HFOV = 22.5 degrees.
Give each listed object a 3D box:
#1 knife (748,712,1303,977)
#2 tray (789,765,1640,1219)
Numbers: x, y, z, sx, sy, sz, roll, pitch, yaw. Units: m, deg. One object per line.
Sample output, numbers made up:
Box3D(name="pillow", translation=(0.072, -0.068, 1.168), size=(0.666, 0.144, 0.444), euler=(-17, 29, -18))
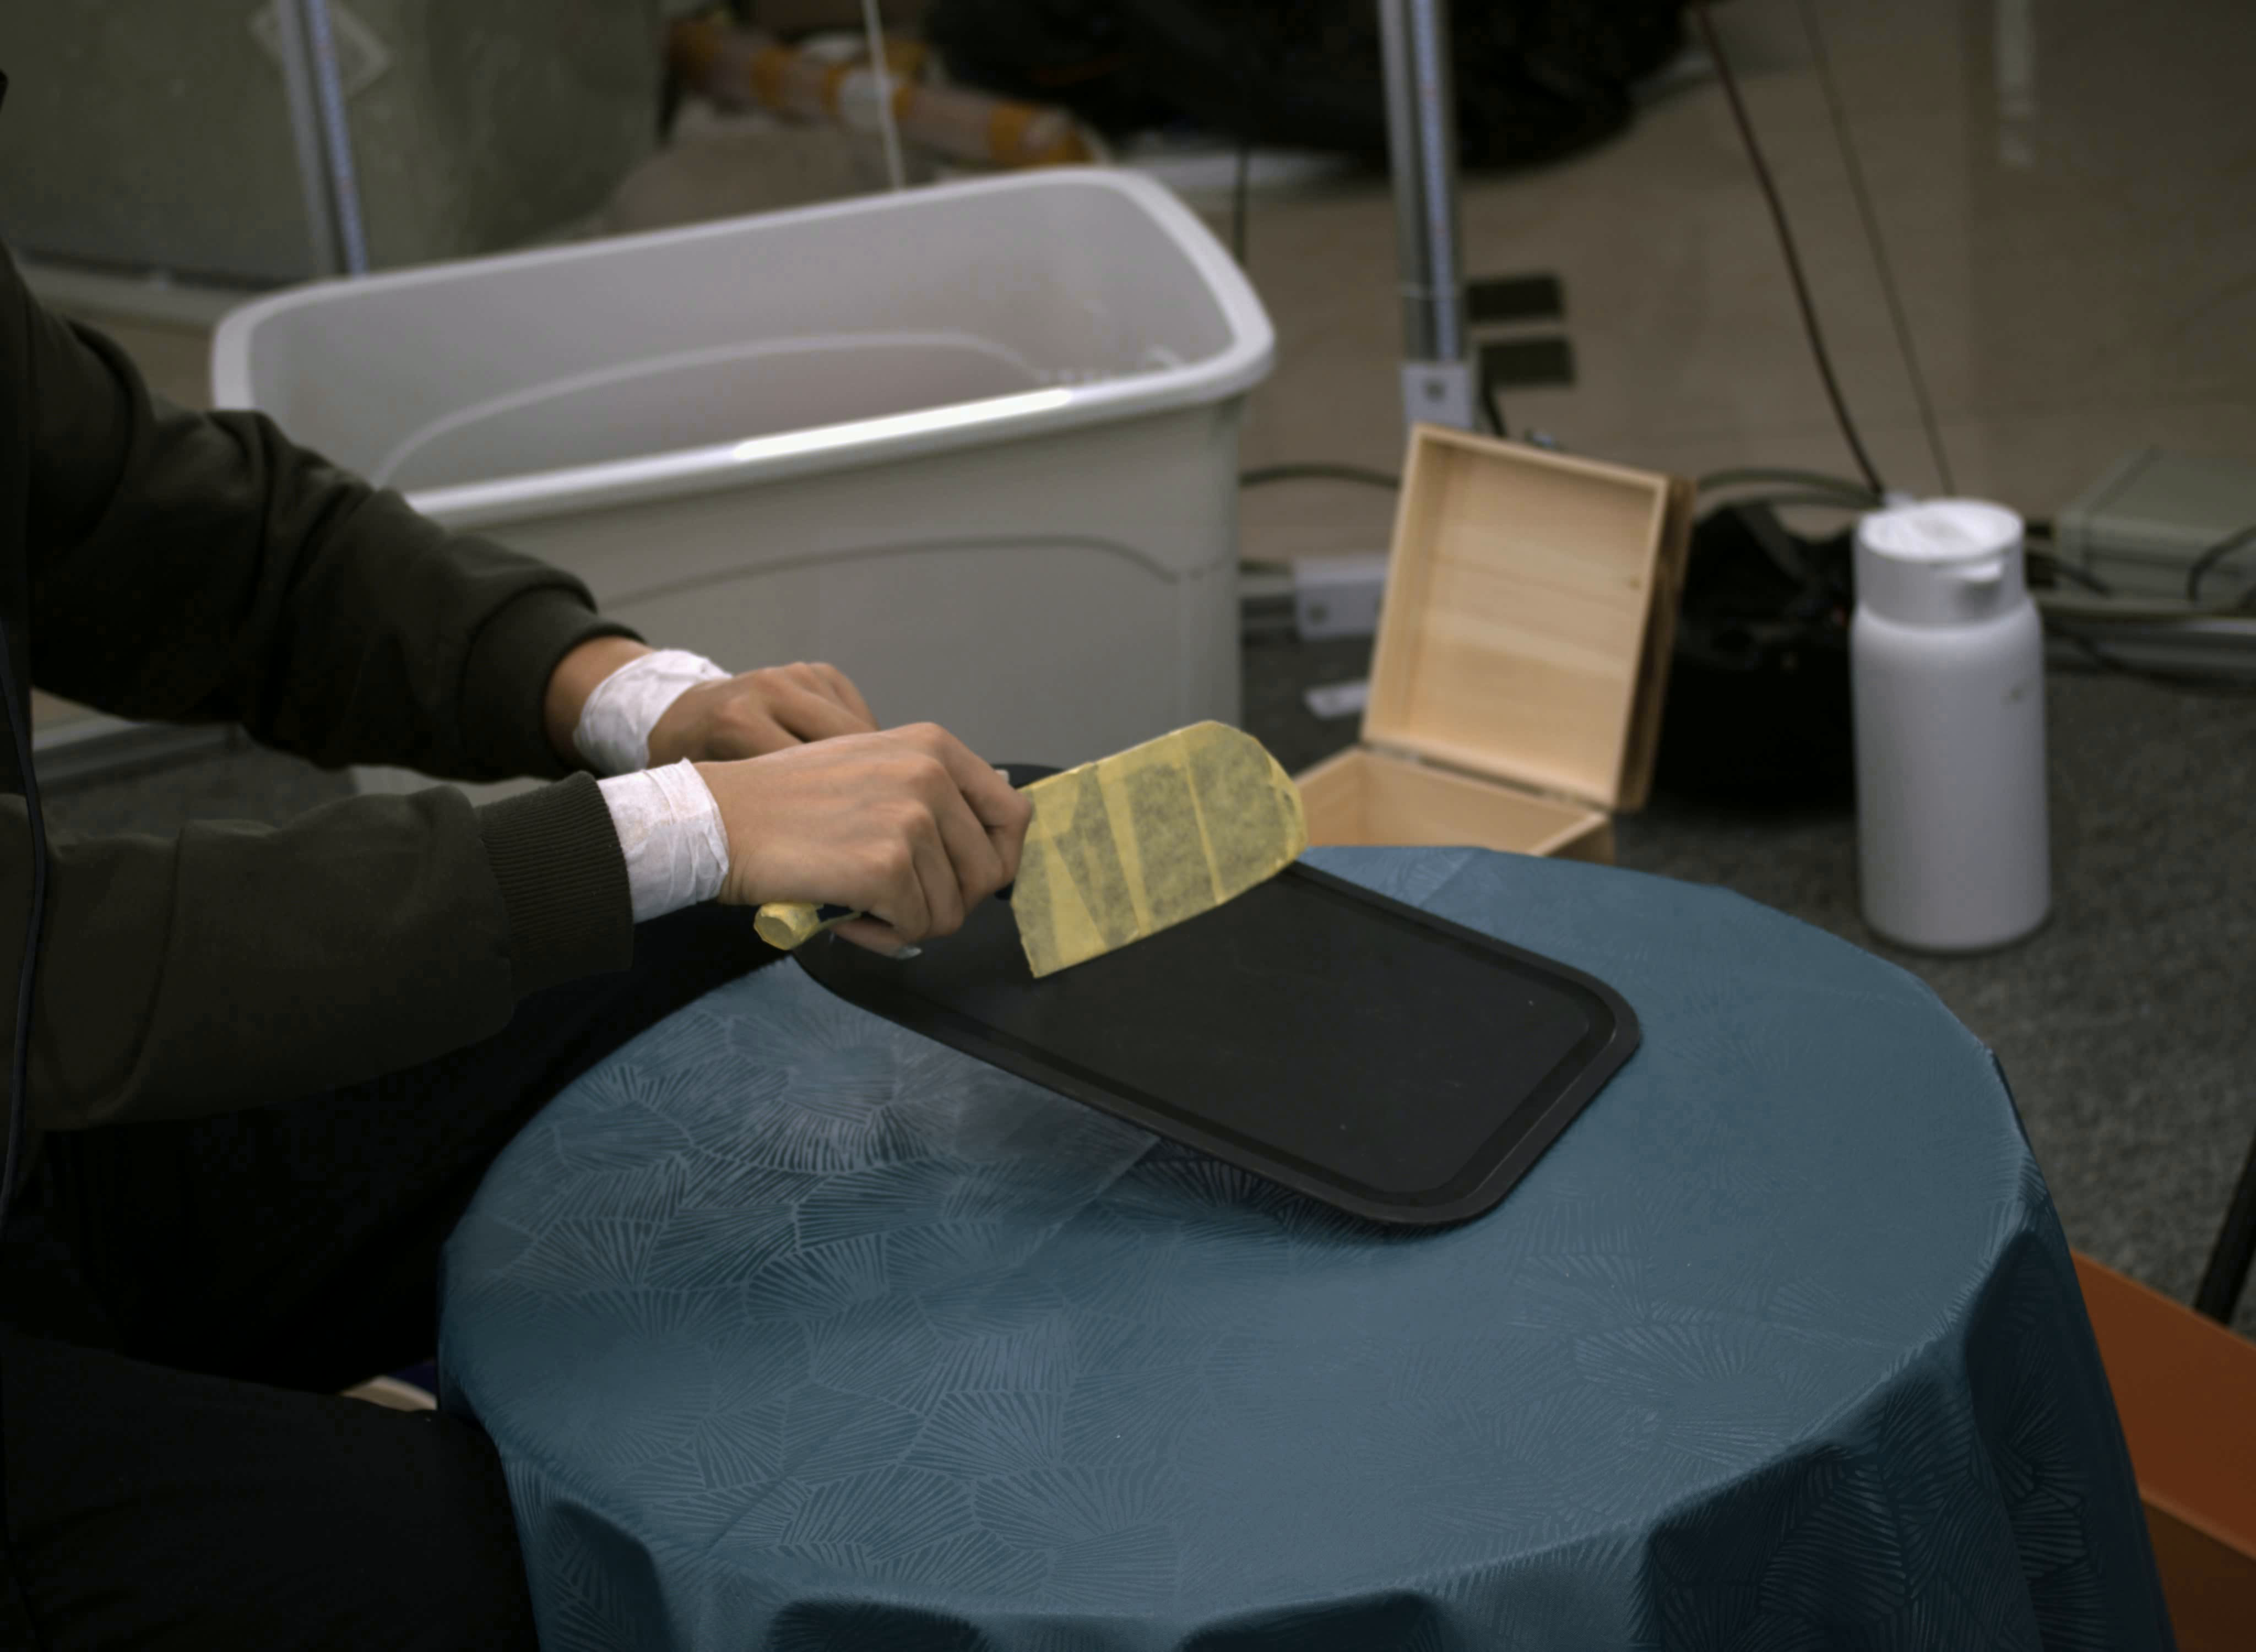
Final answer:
Box3D(name="knife", translation=(-0.032, 0.016, 2.200), size=(0.288, 0.081, 0.027), euler=(-17, 7, -41))
Box3D(name="tray", translation=(0.026, 0.057, 2.212), size=(0.323, 0.010, 0.208), euler=(22, 34, 20))
